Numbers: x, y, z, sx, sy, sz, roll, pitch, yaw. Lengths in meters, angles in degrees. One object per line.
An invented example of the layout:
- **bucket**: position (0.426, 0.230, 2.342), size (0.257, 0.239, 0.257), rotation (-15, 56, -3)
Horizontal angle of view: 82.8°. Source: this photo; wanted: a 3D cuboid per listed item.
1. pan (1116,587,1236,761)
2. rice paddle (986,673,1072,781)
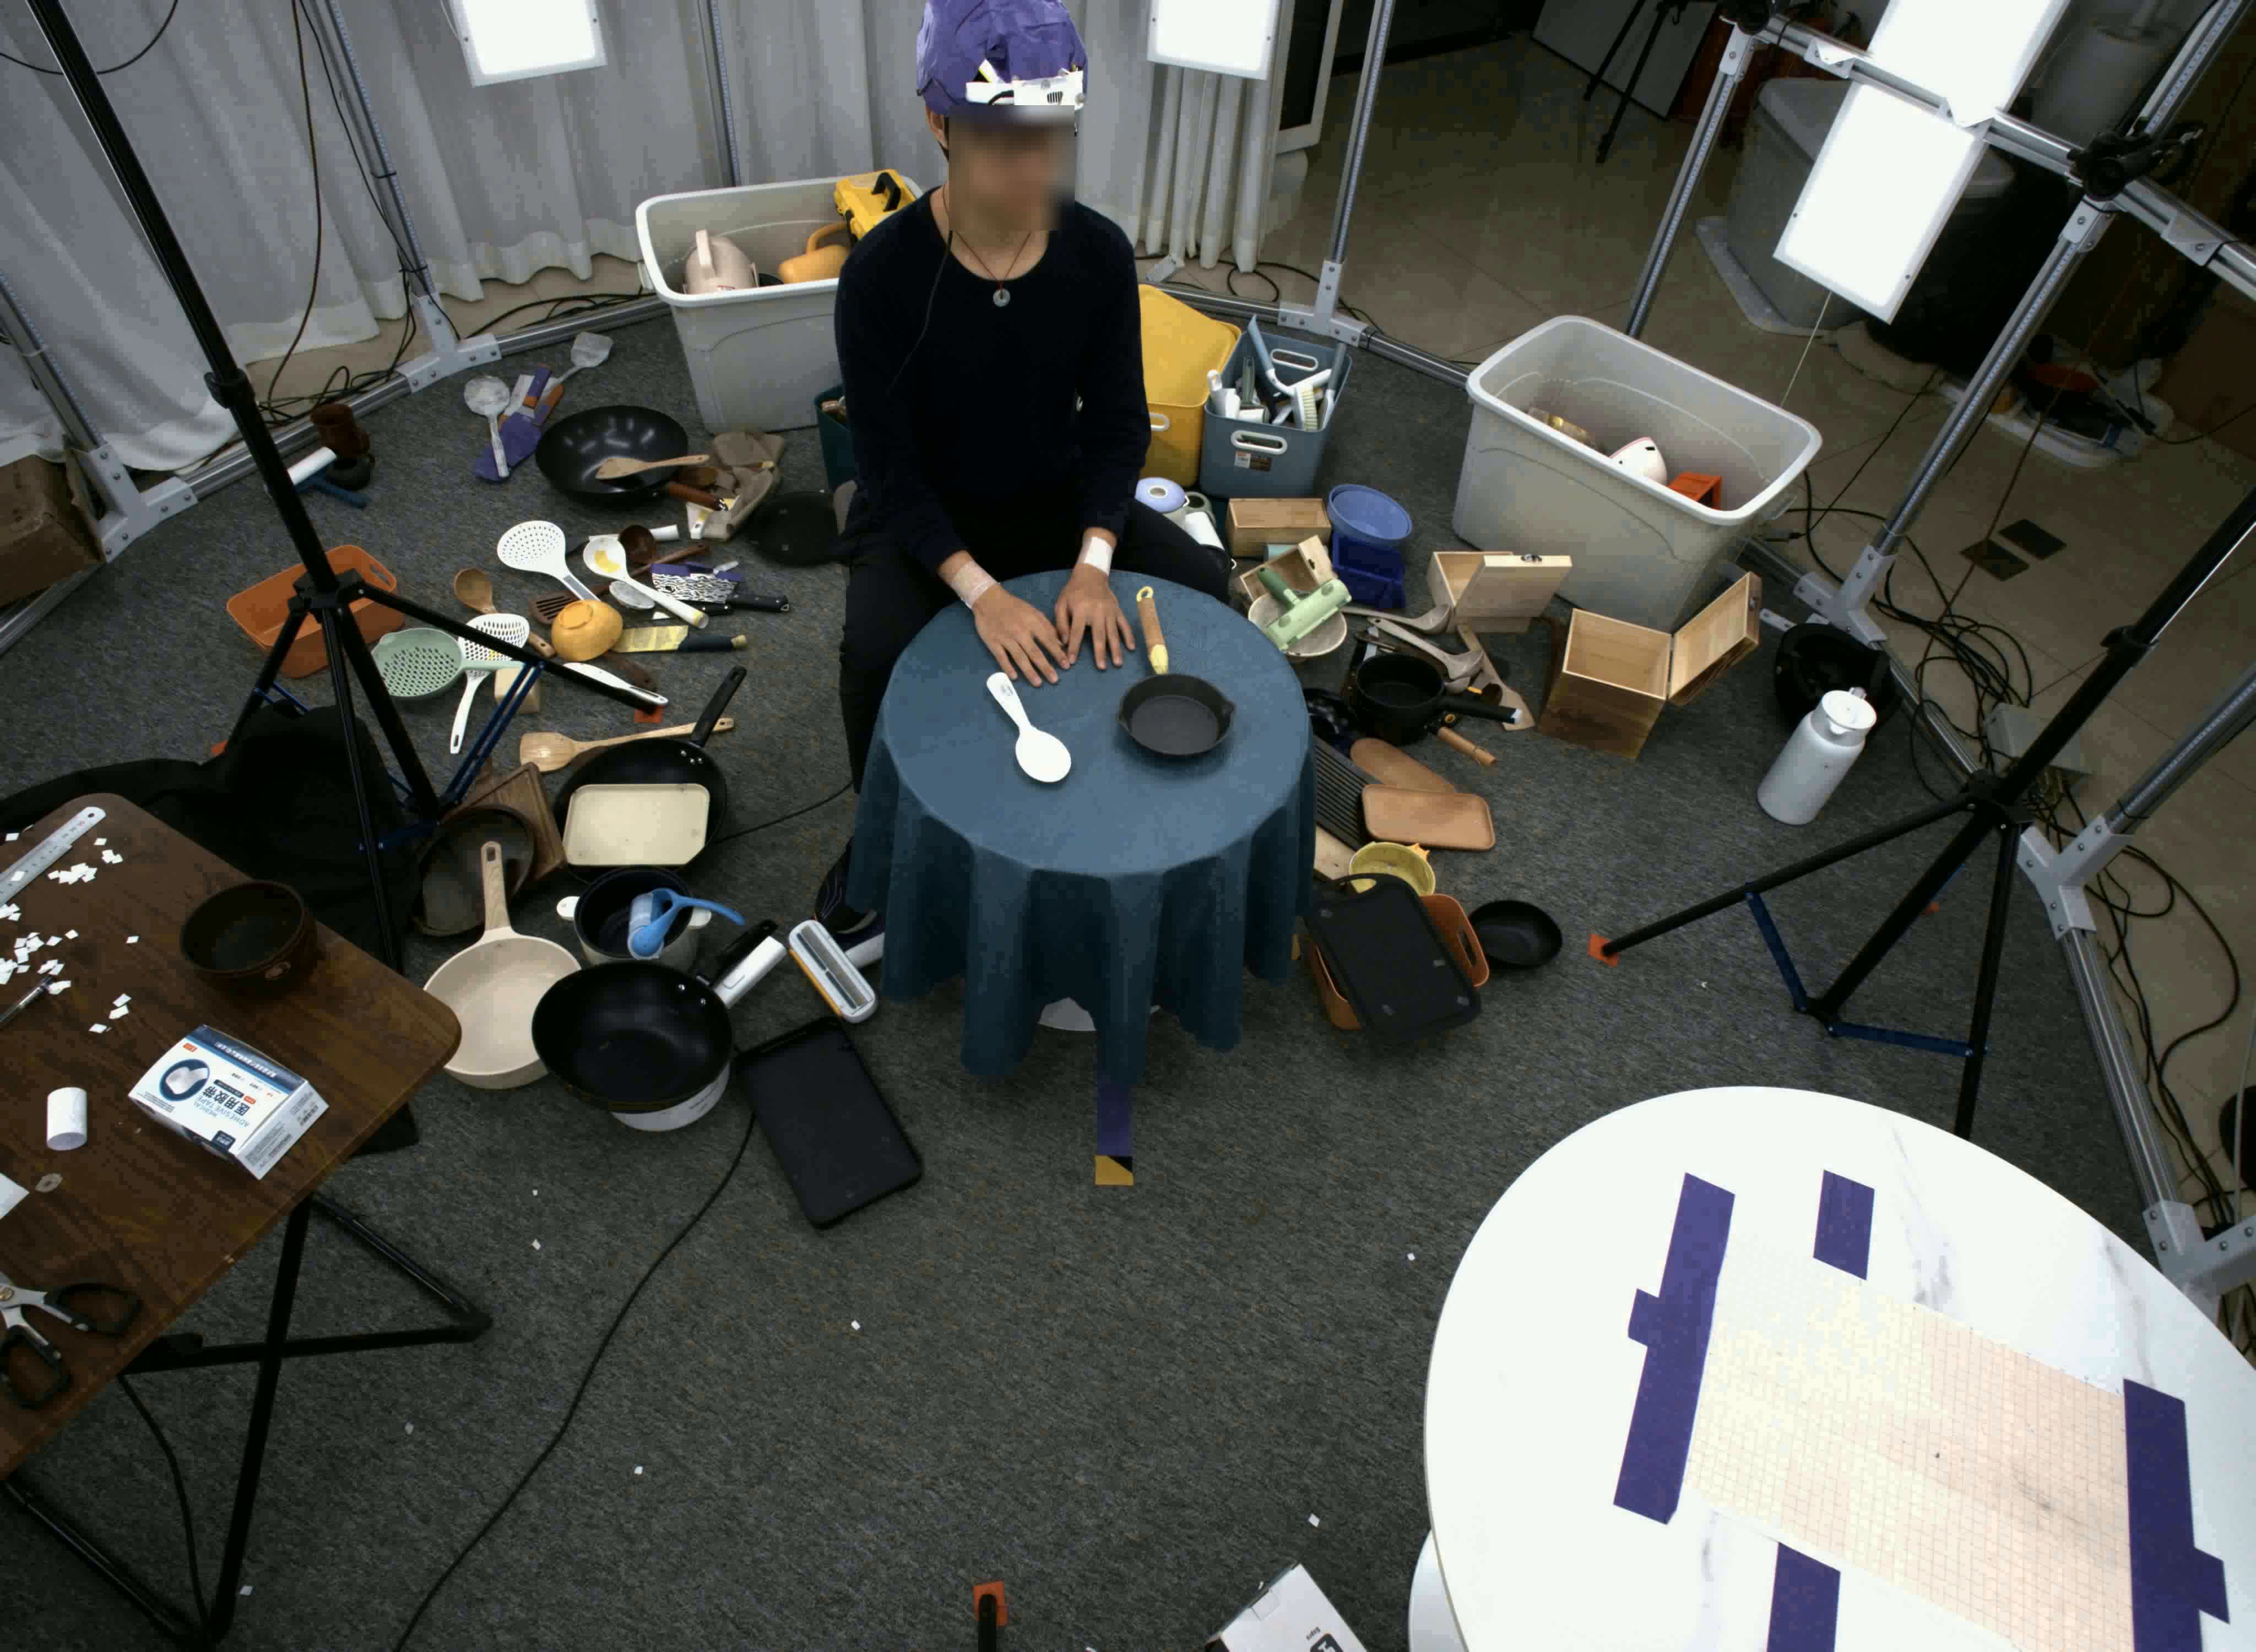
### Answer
- **pan**: position (0.053, -0.218, 1.829), size (0.169, 0.048, 0.332), rotation (-5, 51, -8)
- **rice paddle**: position (-0.139, -0.136, 1.758), size (0.069, 0.029, 0.210), rotation (-20, 53, -18)
